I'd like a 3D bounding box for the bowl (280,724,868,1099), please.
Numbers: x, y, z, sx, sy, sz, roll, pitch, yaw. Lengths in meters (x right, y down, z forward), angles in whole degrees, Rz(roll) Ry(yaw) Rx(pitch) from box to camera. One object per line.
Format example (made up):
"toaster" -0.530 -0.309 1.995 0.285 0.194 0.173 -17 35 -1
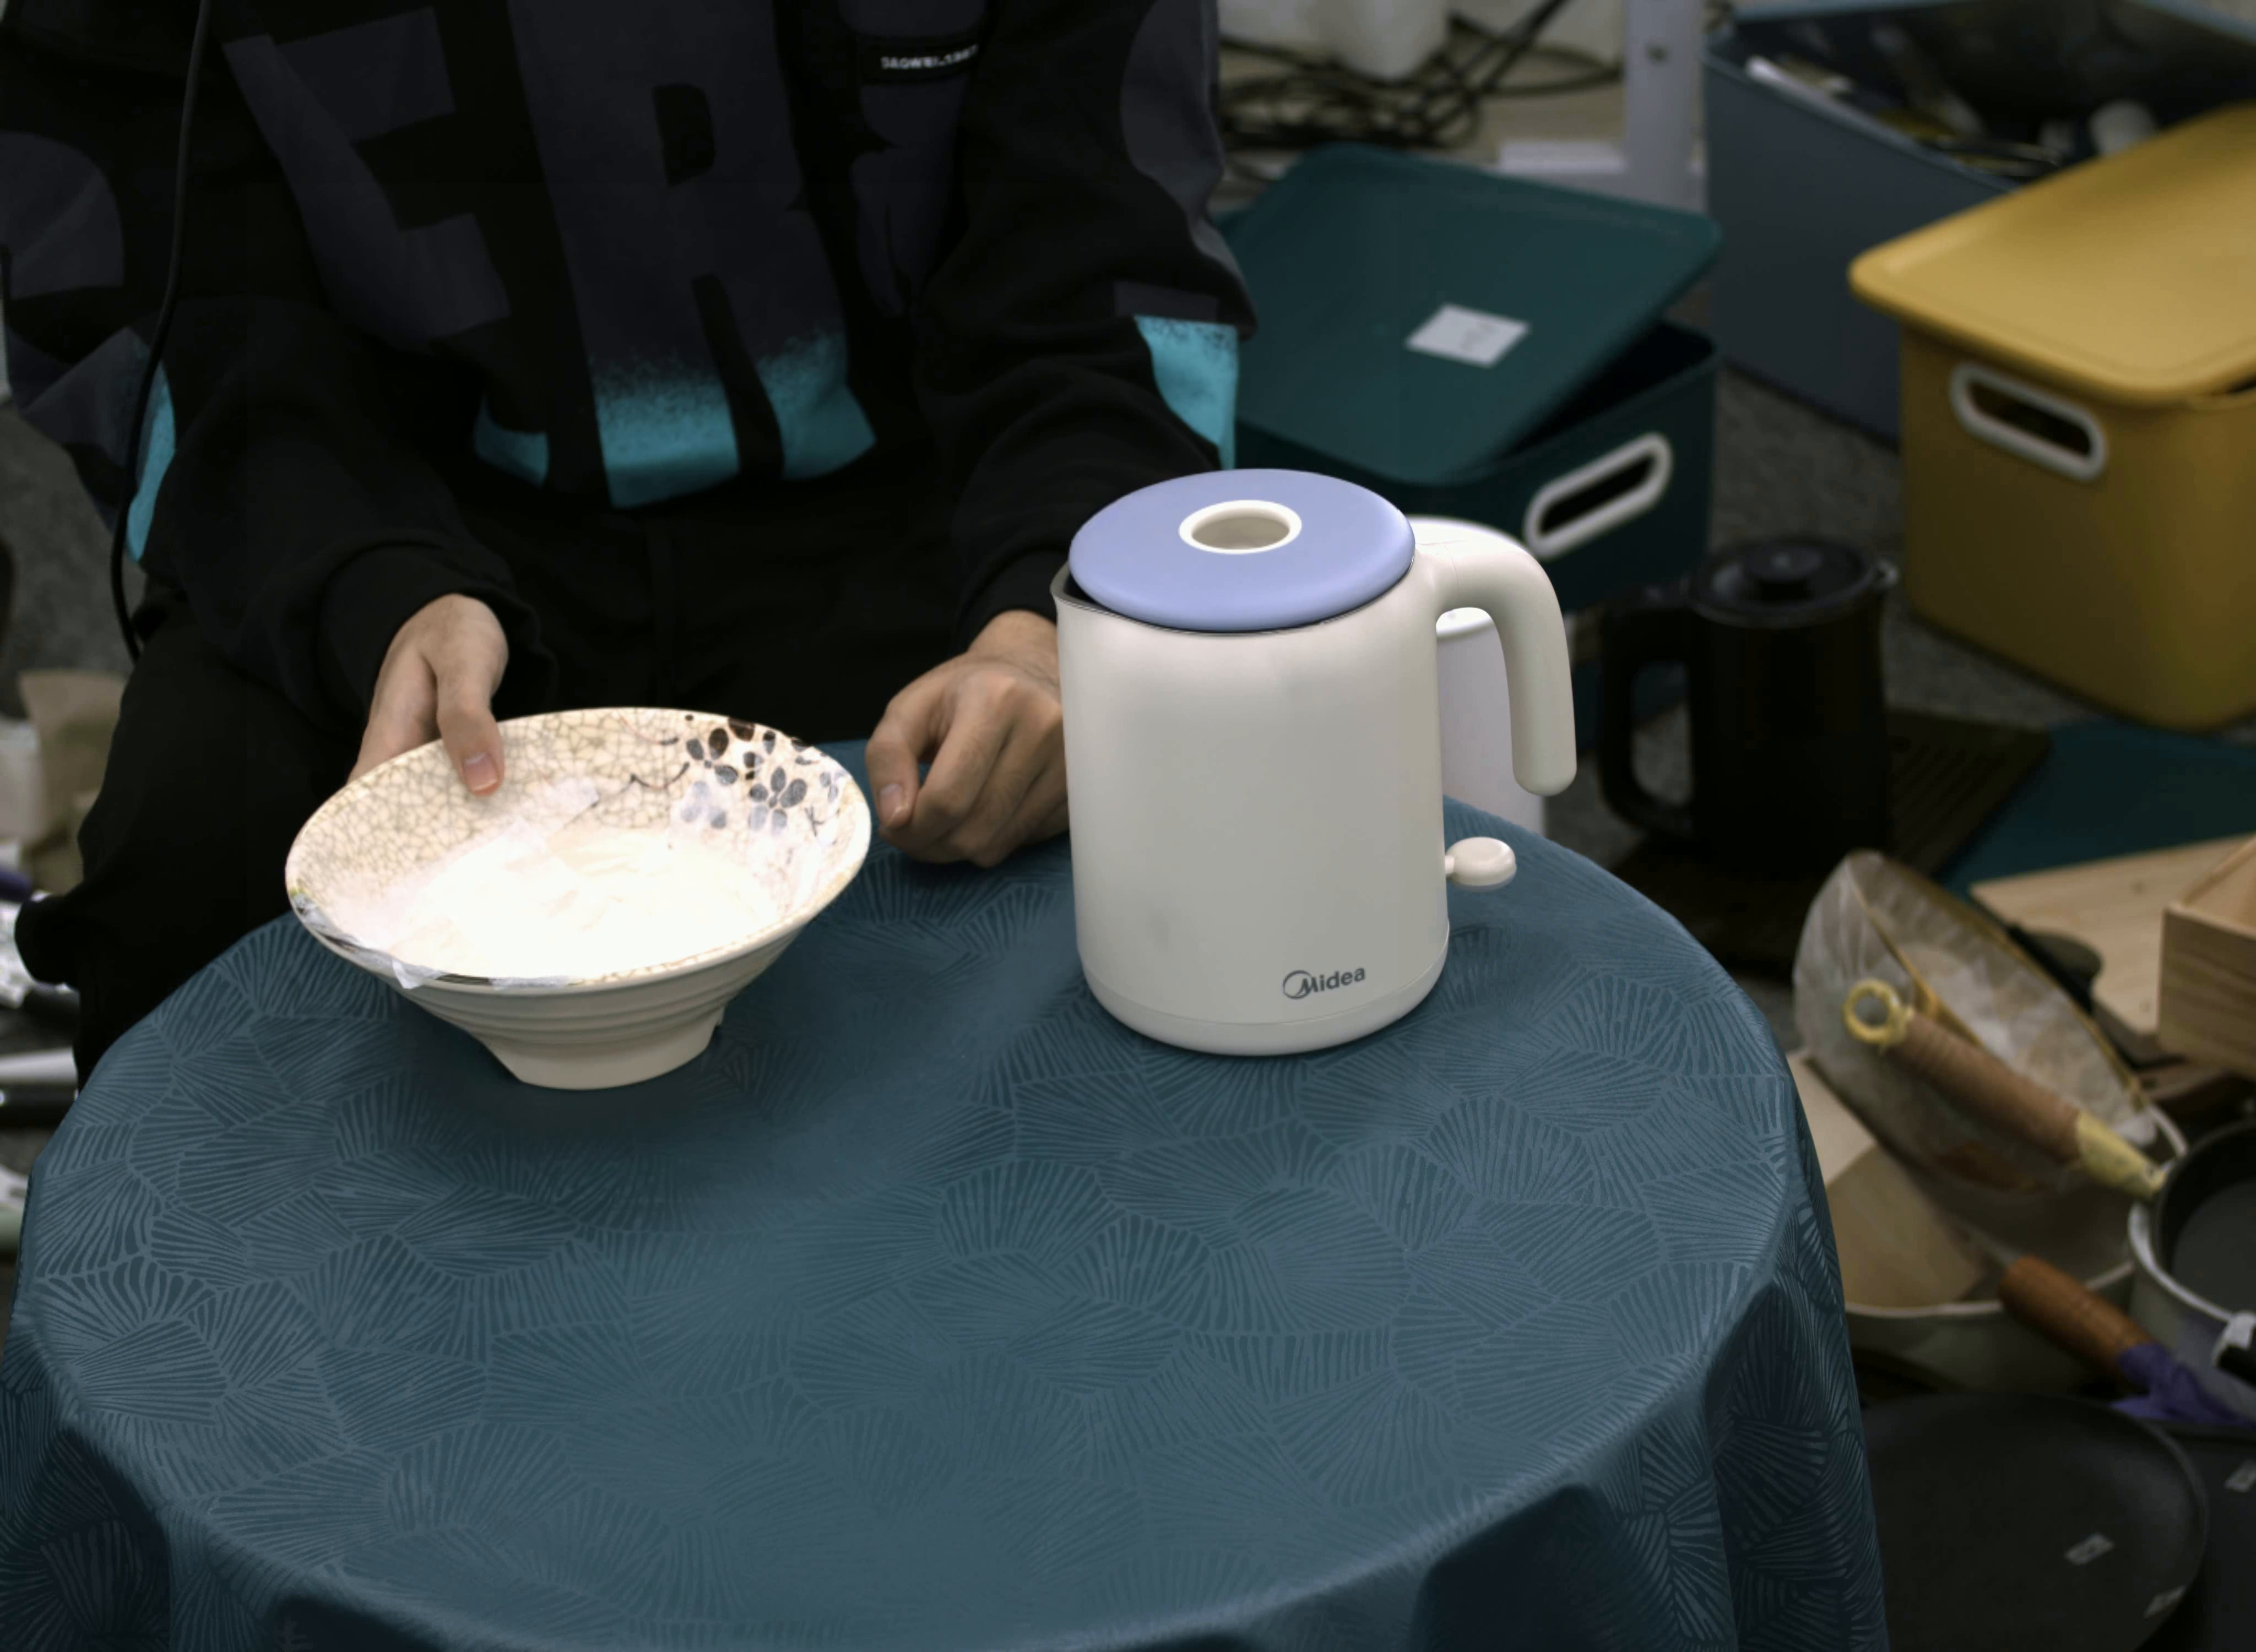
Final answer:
"bowl" -0.189 0.041 1.954 0.203 0.077 0.207 -2 25 1

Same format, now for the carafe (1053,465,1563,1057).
"carafe" 0.065 -0.027 1.958 0.191 0.180 0.133 -10 28 -18
